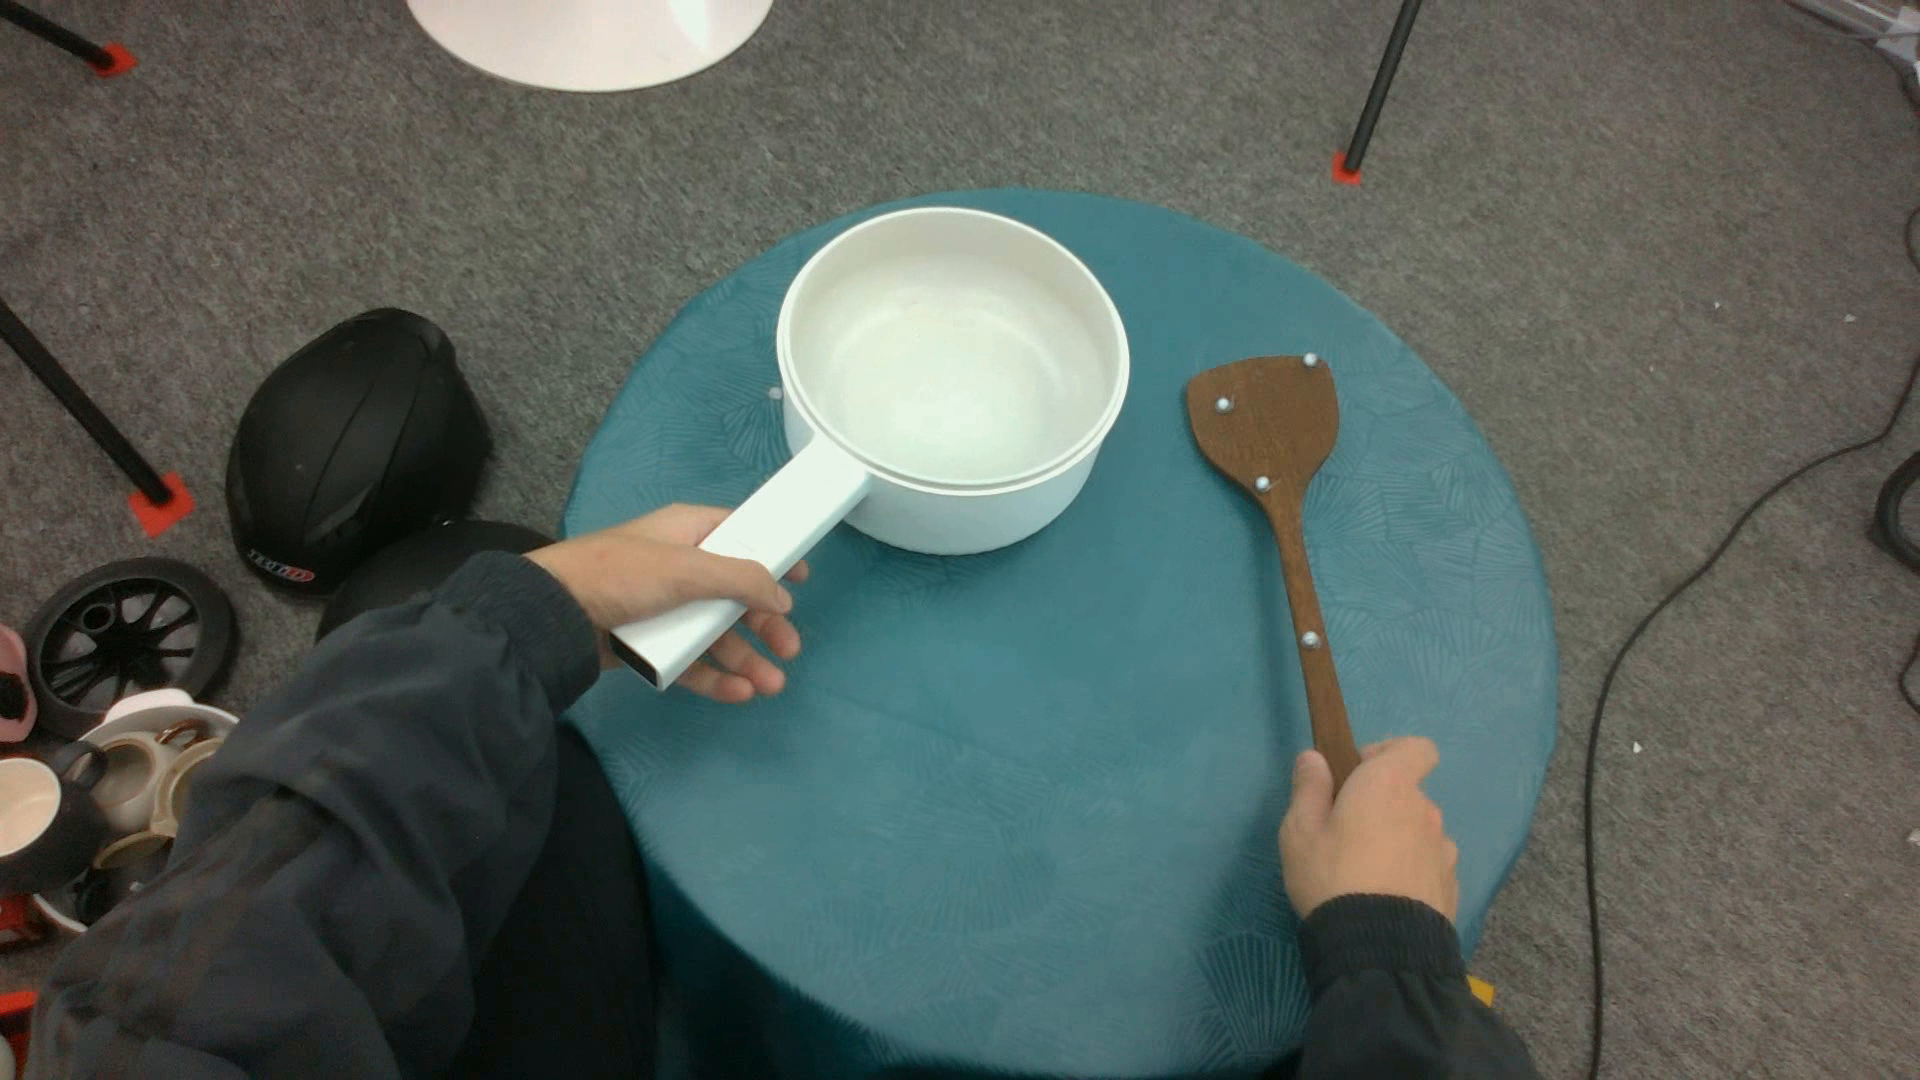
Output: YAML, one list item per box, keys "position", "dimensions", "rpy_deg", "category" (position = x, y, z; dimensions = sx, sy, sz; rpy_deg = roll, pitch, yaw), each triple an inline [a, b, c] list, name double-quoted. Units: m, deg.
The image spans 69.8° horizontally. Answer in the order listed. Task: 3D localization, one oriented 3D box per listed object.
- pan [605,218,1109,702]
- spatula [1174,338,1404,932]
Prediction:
- position: [-0.061, -0.035, 0.798]
  dimensions: [0.201, 0.101, 0.356]
  rpy_deg: [34, 63, 13]
  category: "pan"
- position: [0.199, 0.036, 0.804]
  dimensions: [0.096, 0.016, 0.387]
  rpy_deg: [-16, 55, 16]
  category: "spatula"
